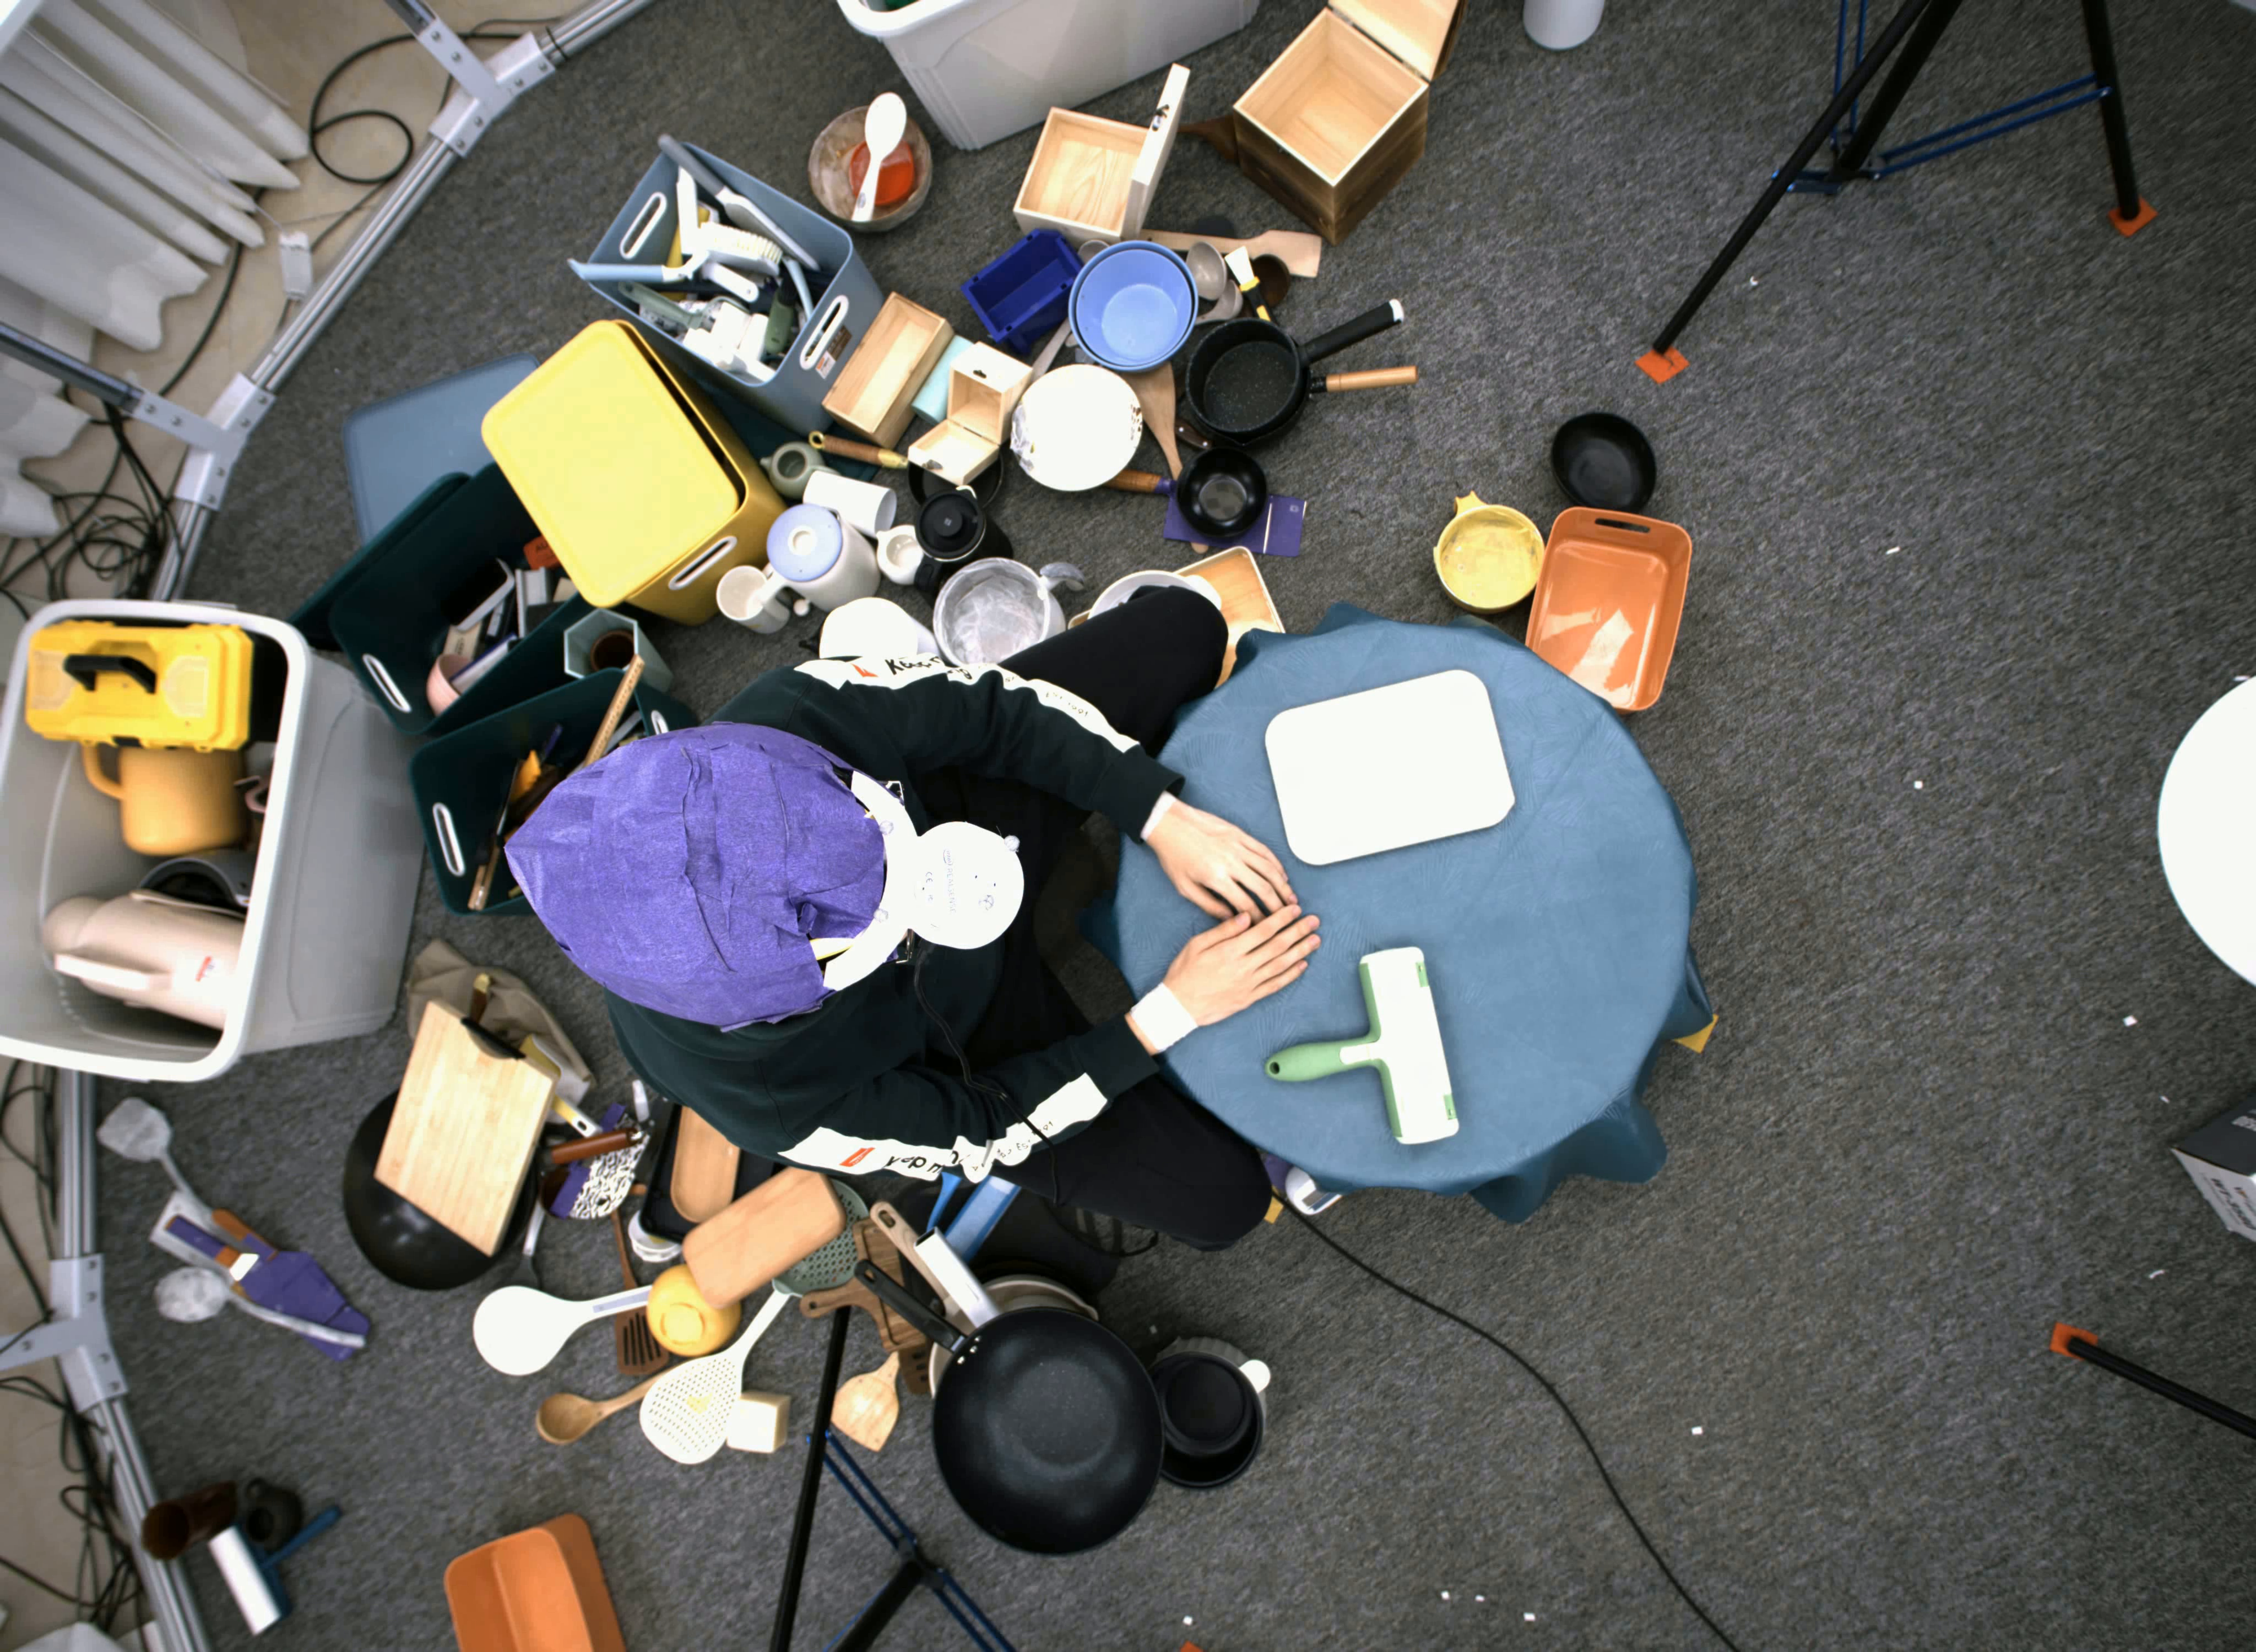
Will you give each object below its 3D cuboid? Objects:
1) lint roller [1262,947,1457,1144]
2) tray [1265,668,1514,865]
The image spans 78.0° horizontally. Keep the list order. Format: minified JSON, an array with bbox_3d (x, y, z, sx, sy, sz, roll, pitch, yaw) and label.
[{"bbox_3d":[0.228,0.233,1.416,0.184,0.082,0.197,-11,85,5],"label":"lint roller"},{"bbox_3d":[0.274,-0.063,1.452,0.241,0.017,0.170,-14,84,9],"label":"tray"}]
